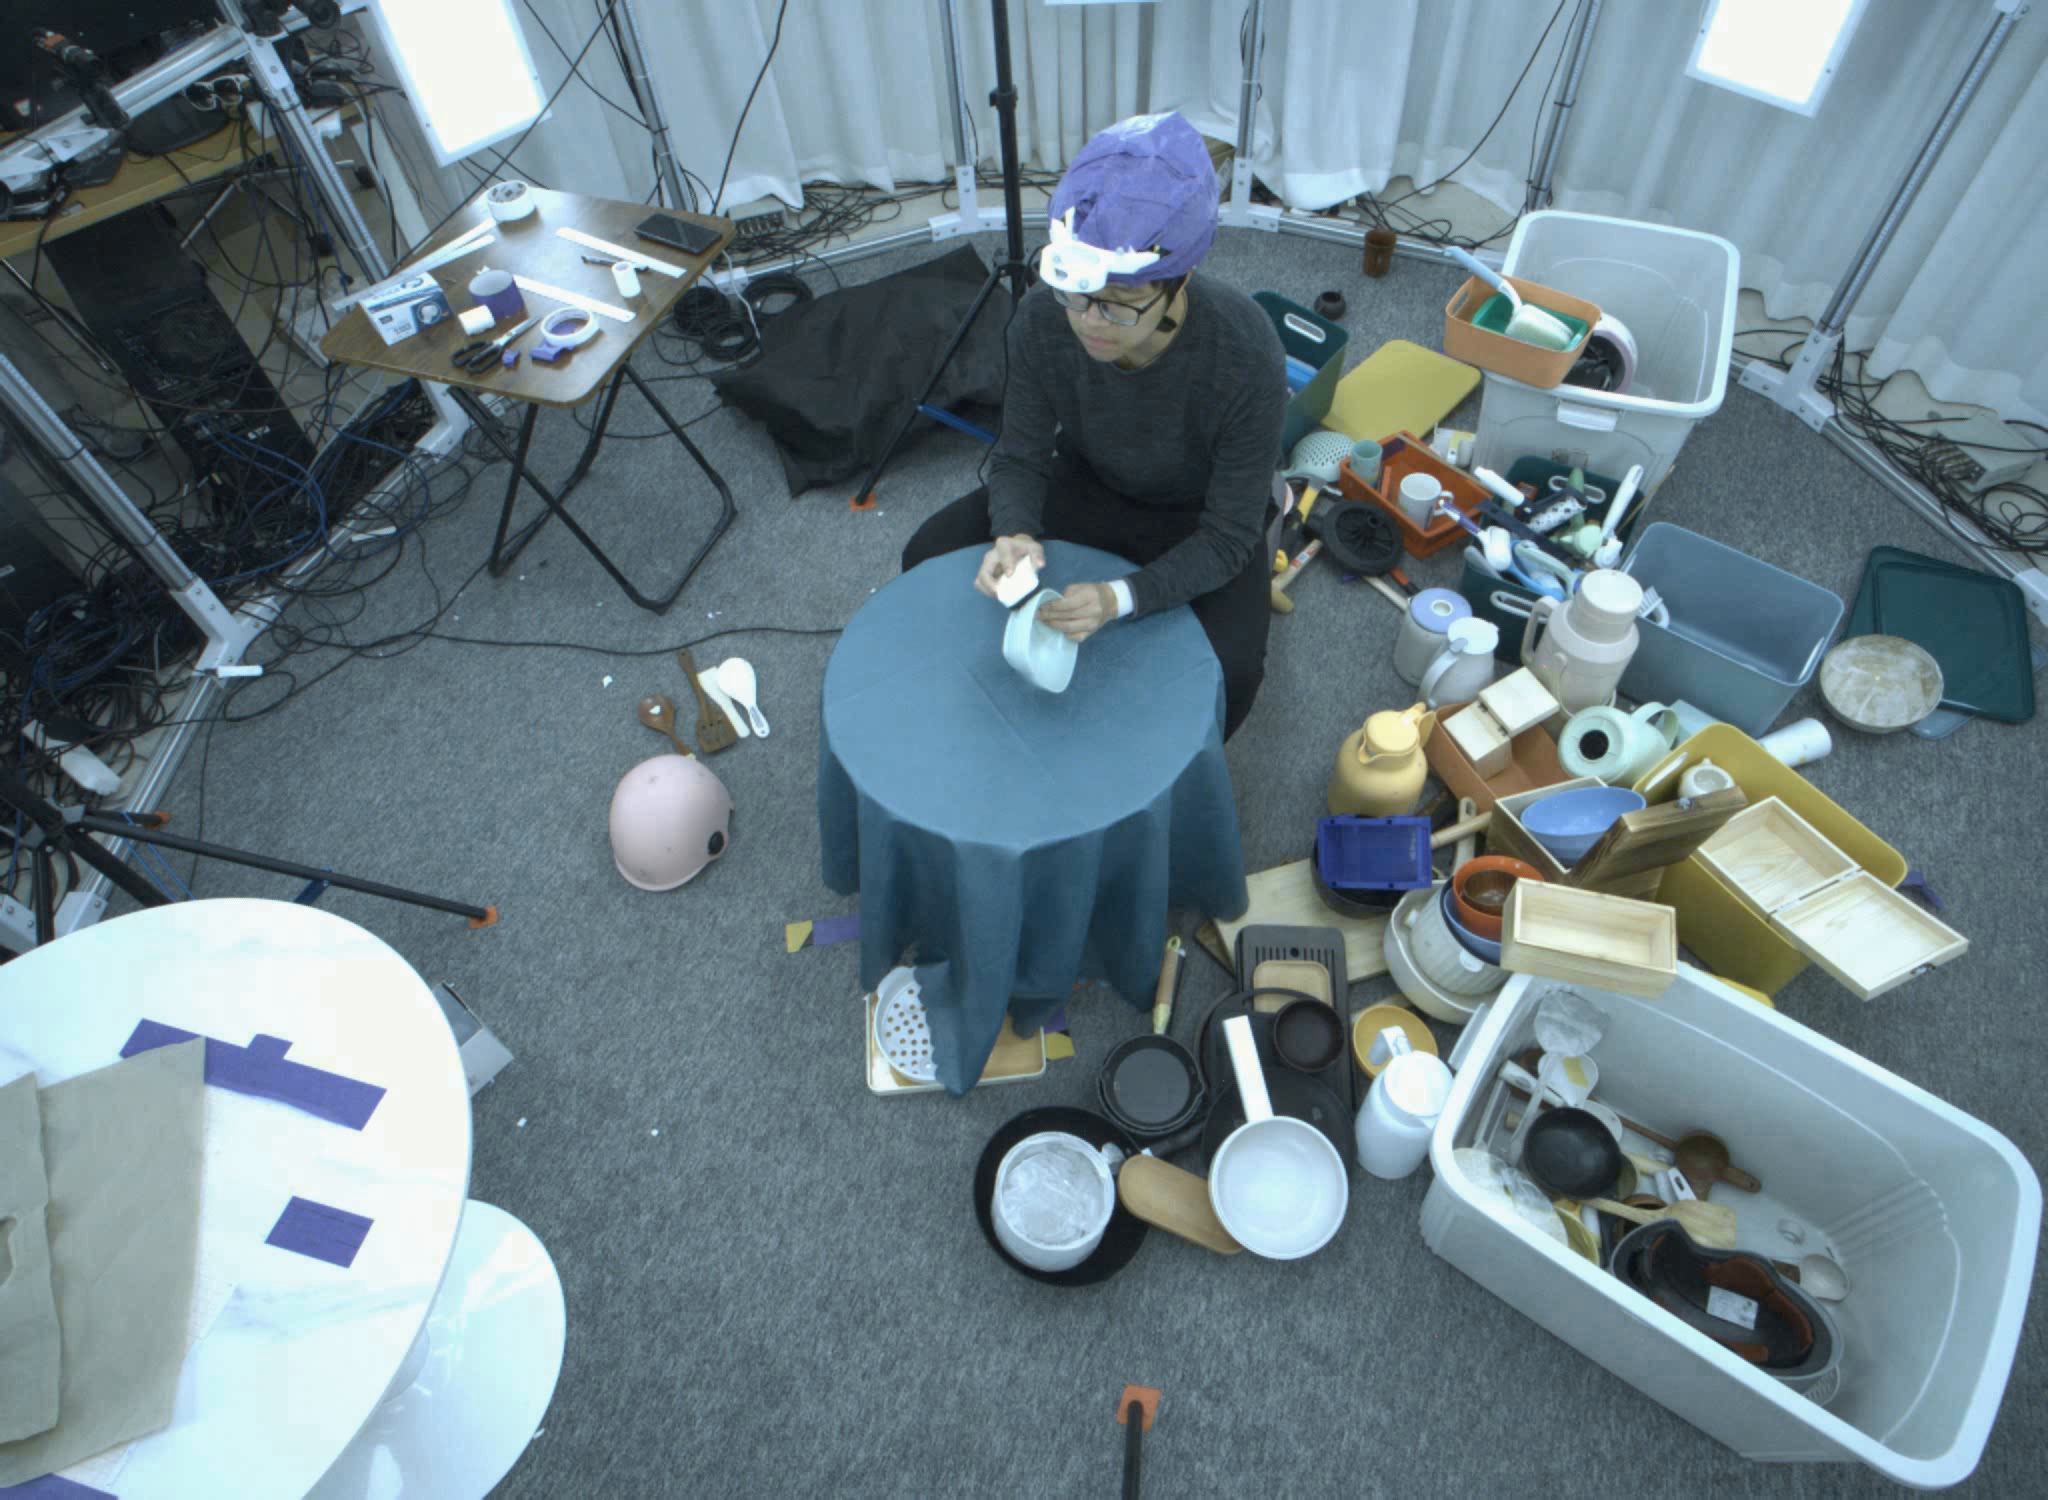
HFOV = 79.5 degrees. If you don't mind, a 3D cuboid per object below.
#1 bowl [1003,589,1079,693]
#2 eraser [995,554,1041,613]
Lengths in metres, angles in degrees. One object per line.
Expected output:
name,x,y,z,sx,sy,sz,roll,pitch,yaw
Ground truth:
bowl,0.018,-0.156,1.765,0.057,0.154,0.151,4,53,31
eraser,-0.009,-0.244,1.771,0.063,0.035,0.130,-35,24,14
